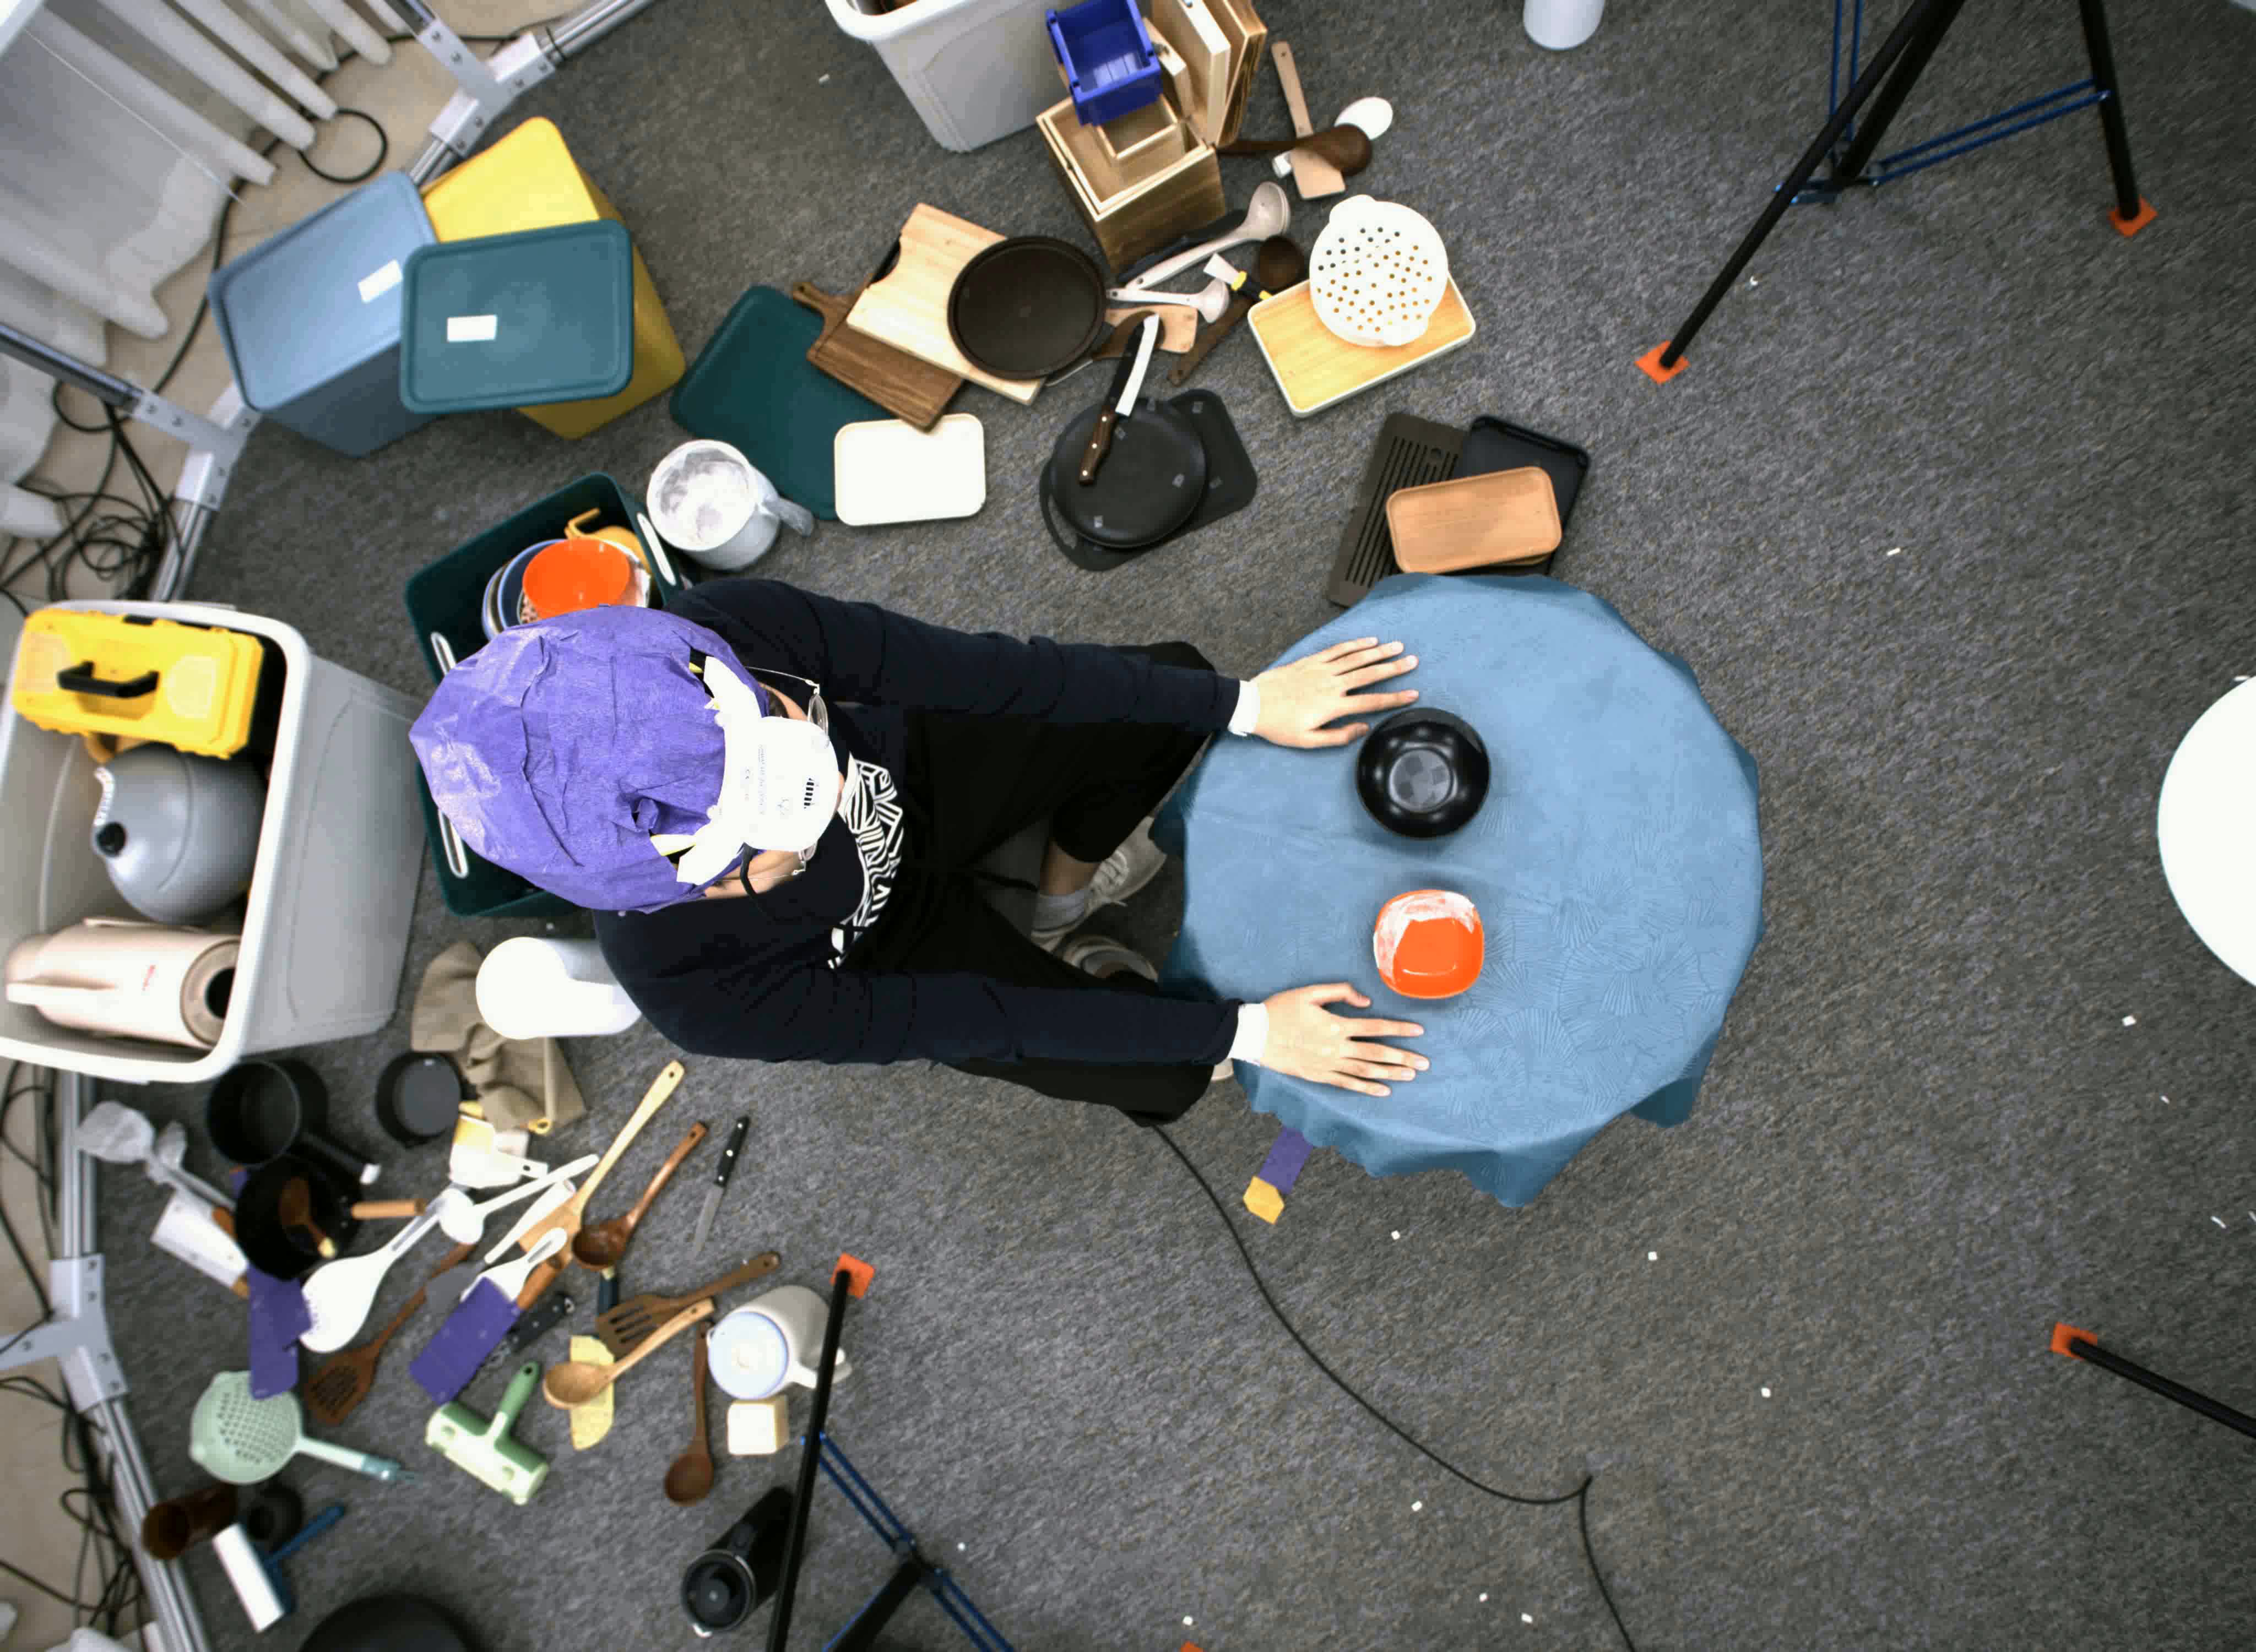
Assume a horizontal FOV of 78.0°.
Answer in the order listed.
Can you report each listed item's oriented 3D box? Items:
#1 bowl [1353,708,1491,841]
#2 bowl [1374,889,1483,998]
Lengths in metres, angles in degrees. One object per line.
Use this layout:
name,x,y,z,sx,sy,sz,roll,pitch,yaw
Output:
bowl,0.307,-0.053,1.438,0.141,0.050,0.139,-1,86,15
bowl,0.308,0.119,1.424,0.119,0.051,0.118,-1,87,9
